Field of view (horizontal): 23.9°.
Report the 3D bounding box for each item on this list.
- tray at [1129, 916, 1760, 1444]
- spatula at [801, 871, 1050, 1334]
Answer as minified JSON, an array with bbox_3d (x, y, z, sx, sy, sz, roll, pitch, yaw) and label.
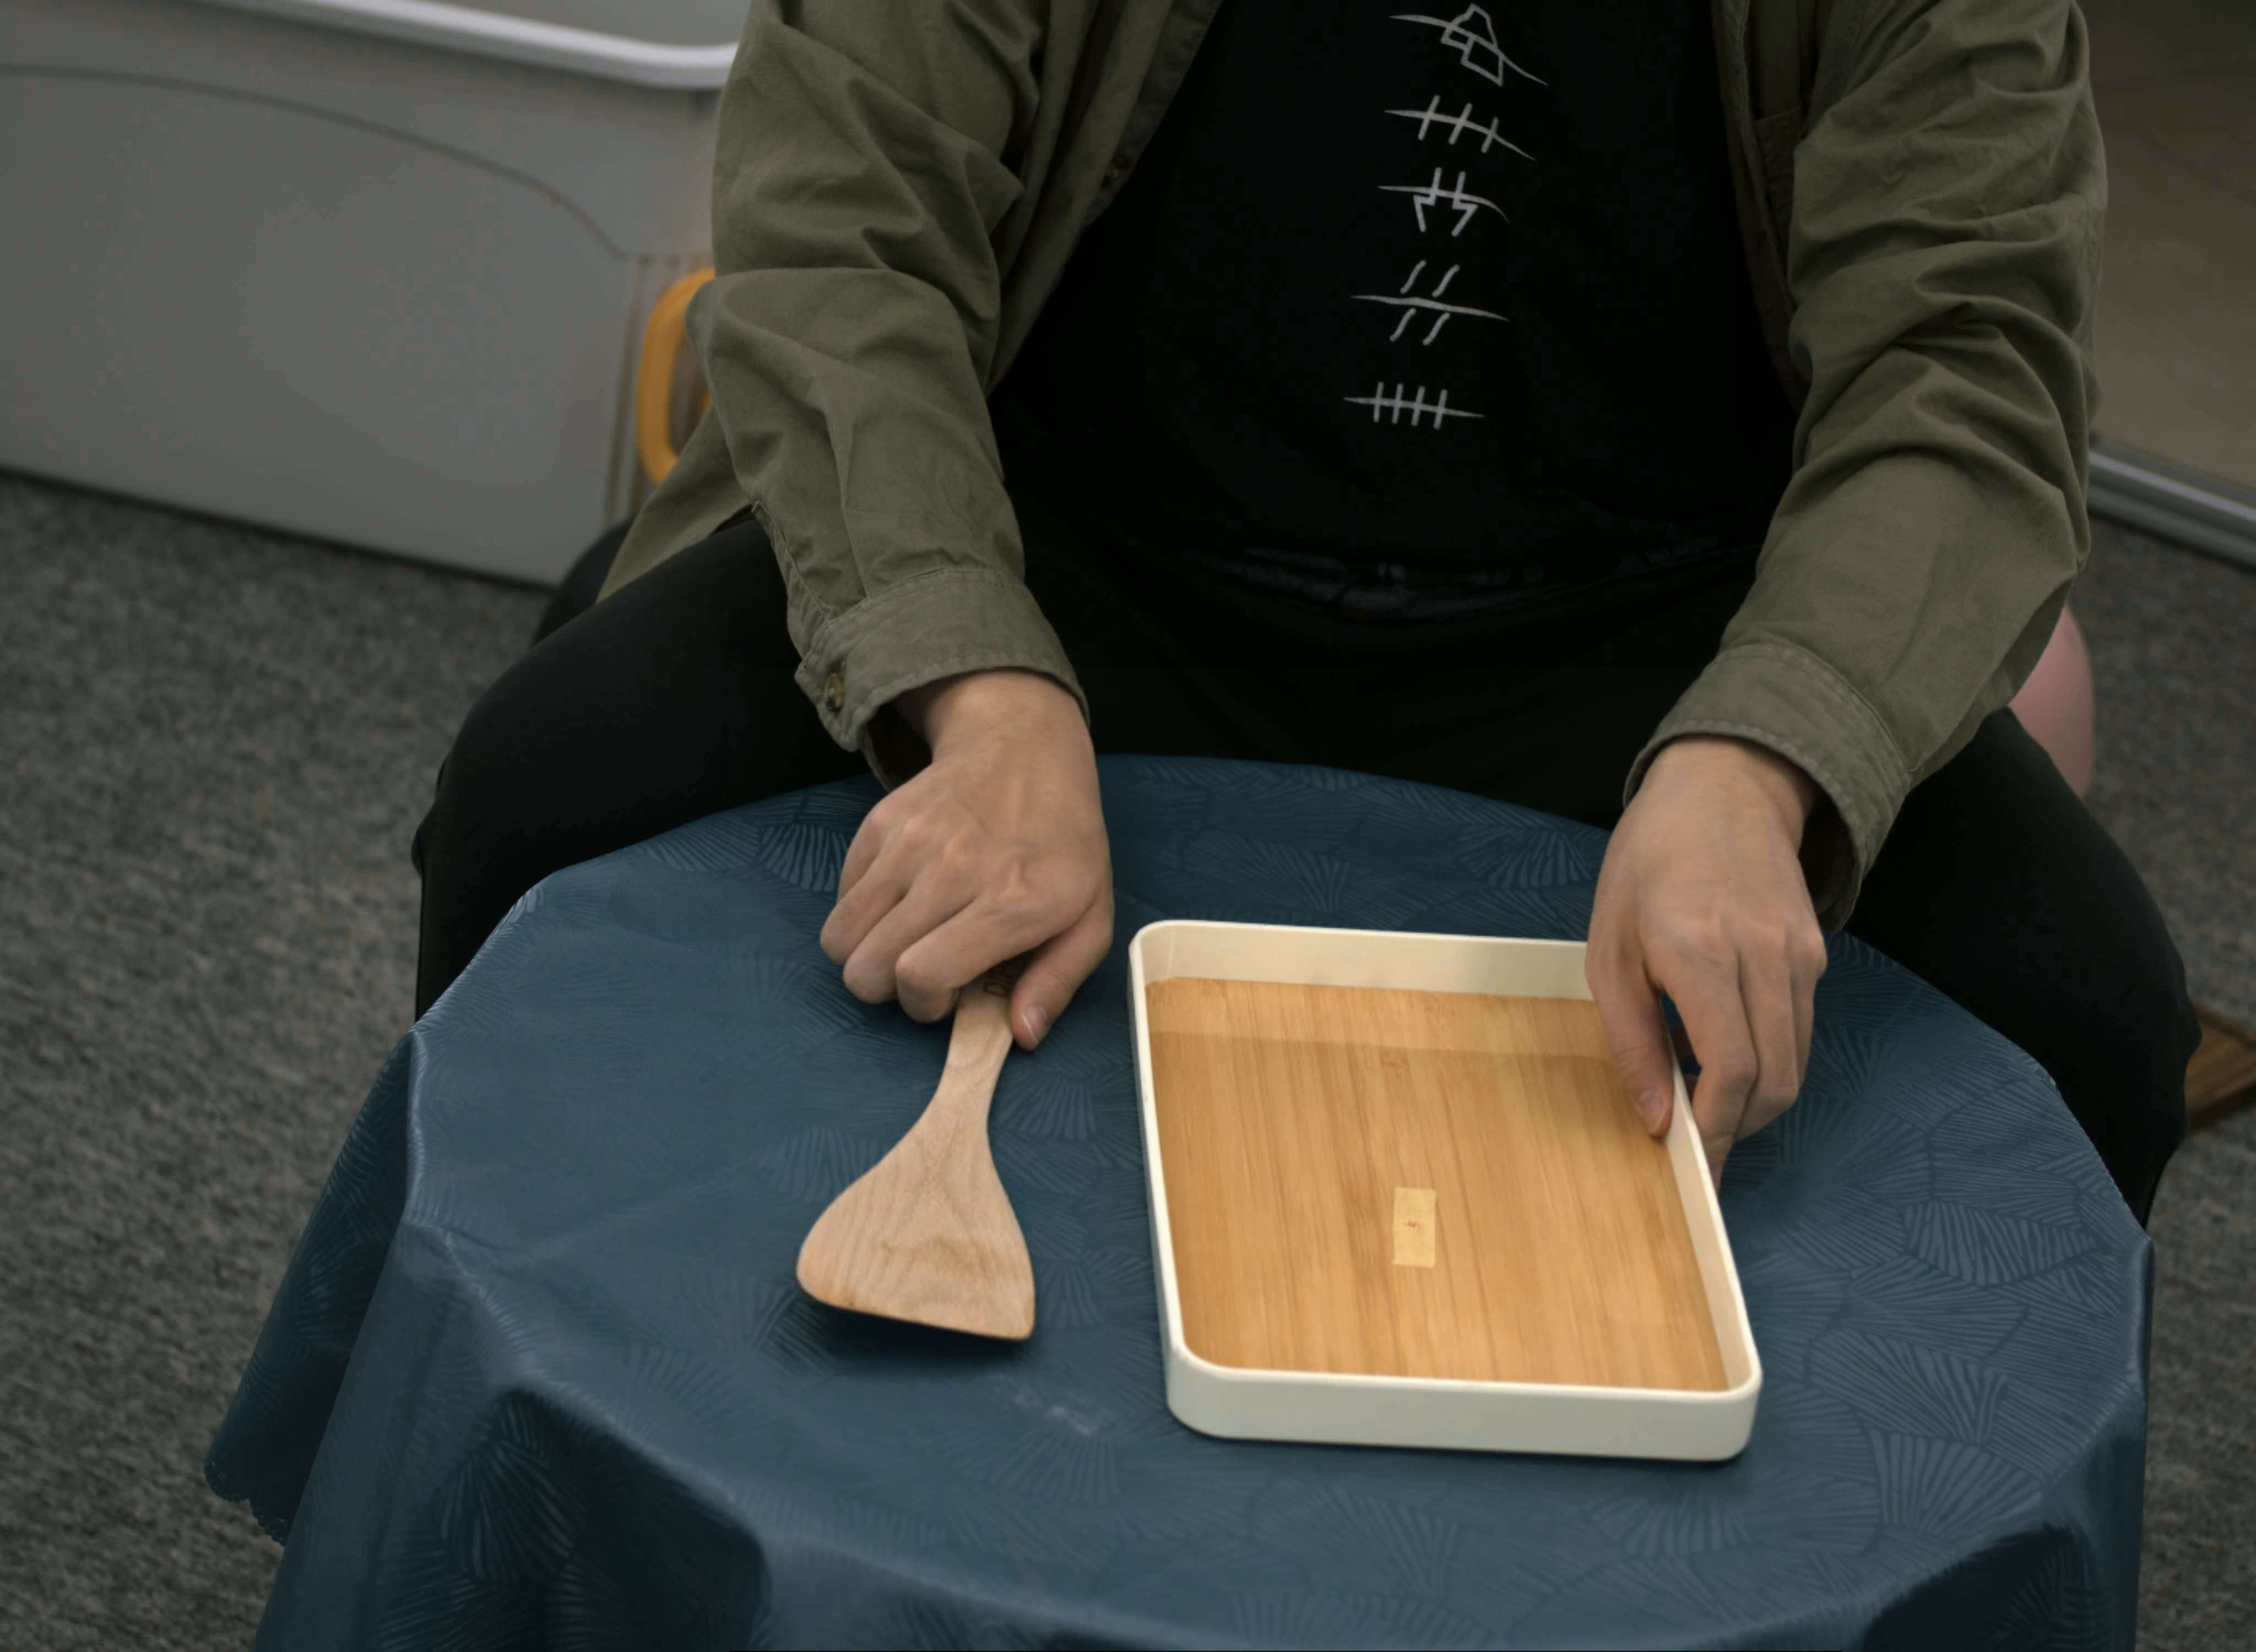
[{"bbox_3d":[0.100,0.115,1.805,0.191,0.027,0.302,4,26,-4],"label":"tray"},{"bbox_3d":[-0.054,0.090,1.834,0.080,0.016,0.329,13,27,-1],"label":"spatula"}]
